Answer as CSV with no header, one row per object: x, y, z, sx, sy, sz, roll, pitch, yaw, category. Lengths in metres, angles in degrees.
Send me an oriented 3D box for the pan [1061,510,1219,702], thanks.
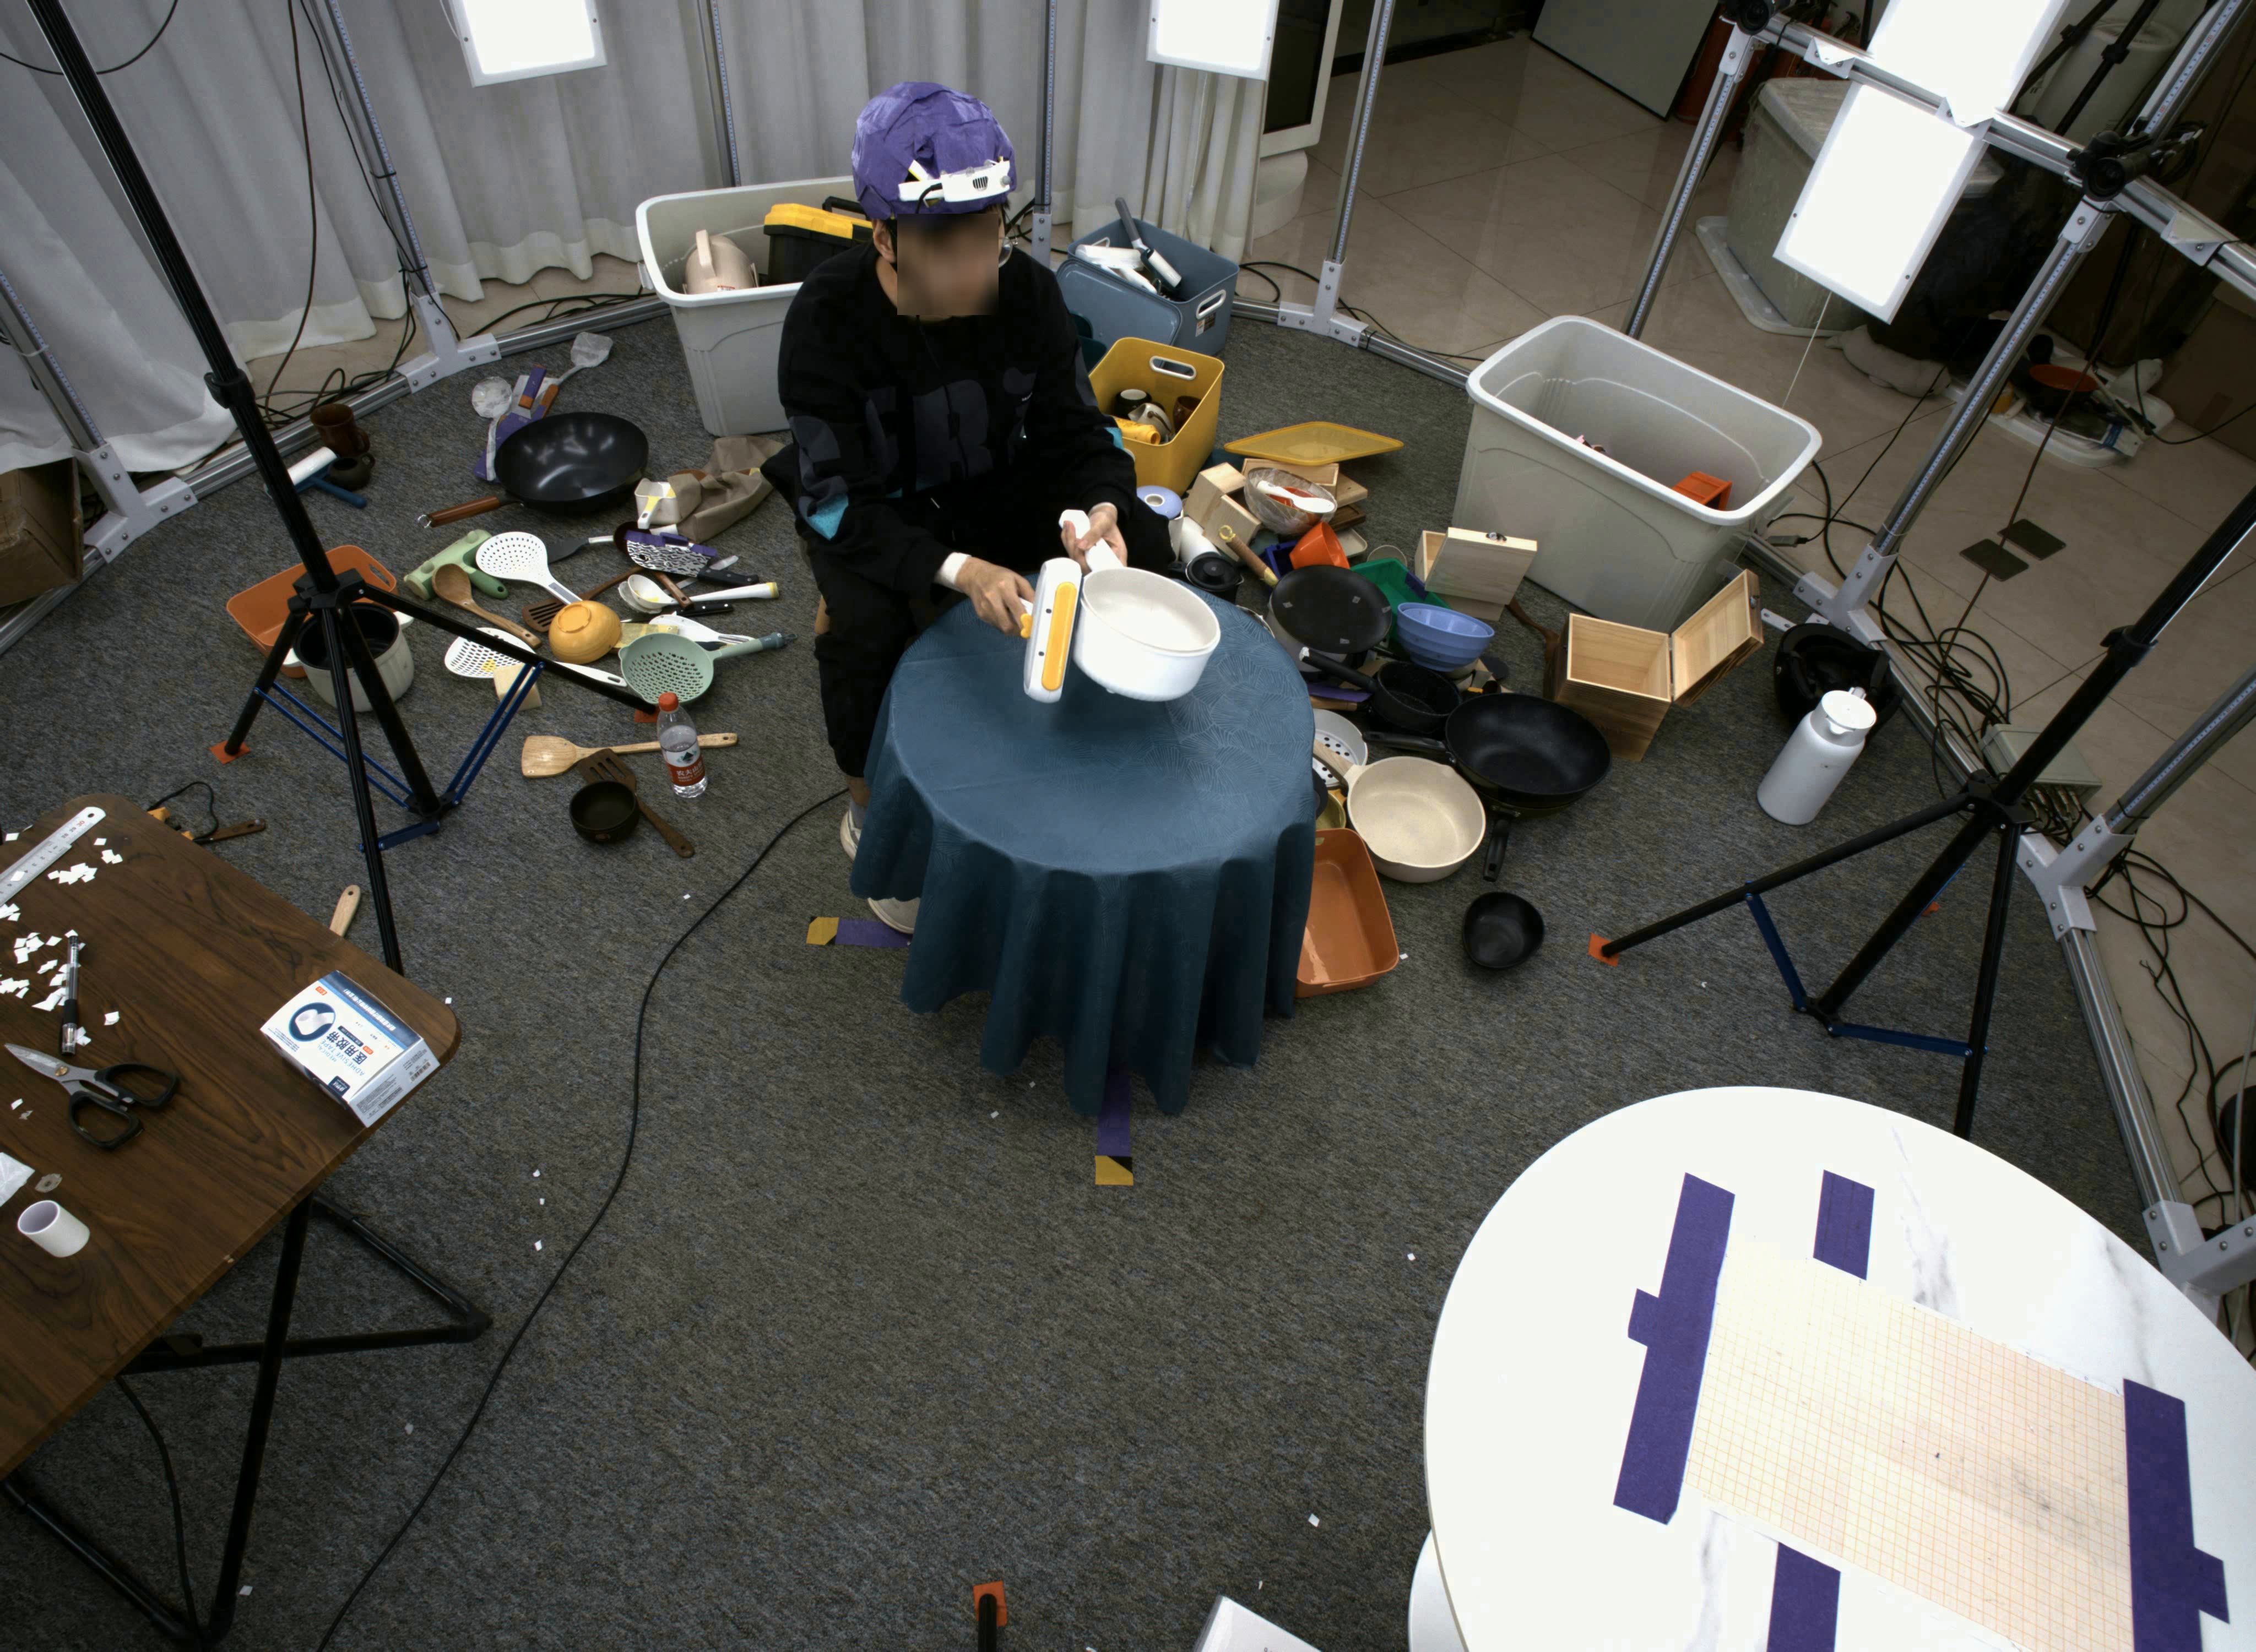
-0.018,-0.307,1.793,0.200,0.100,0.363,-4,43,-30,pan

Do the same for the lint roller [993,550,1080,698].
-0.128,-0.283,1.743,0.074,0.190,0.195,-2,18,-22,lint roller
